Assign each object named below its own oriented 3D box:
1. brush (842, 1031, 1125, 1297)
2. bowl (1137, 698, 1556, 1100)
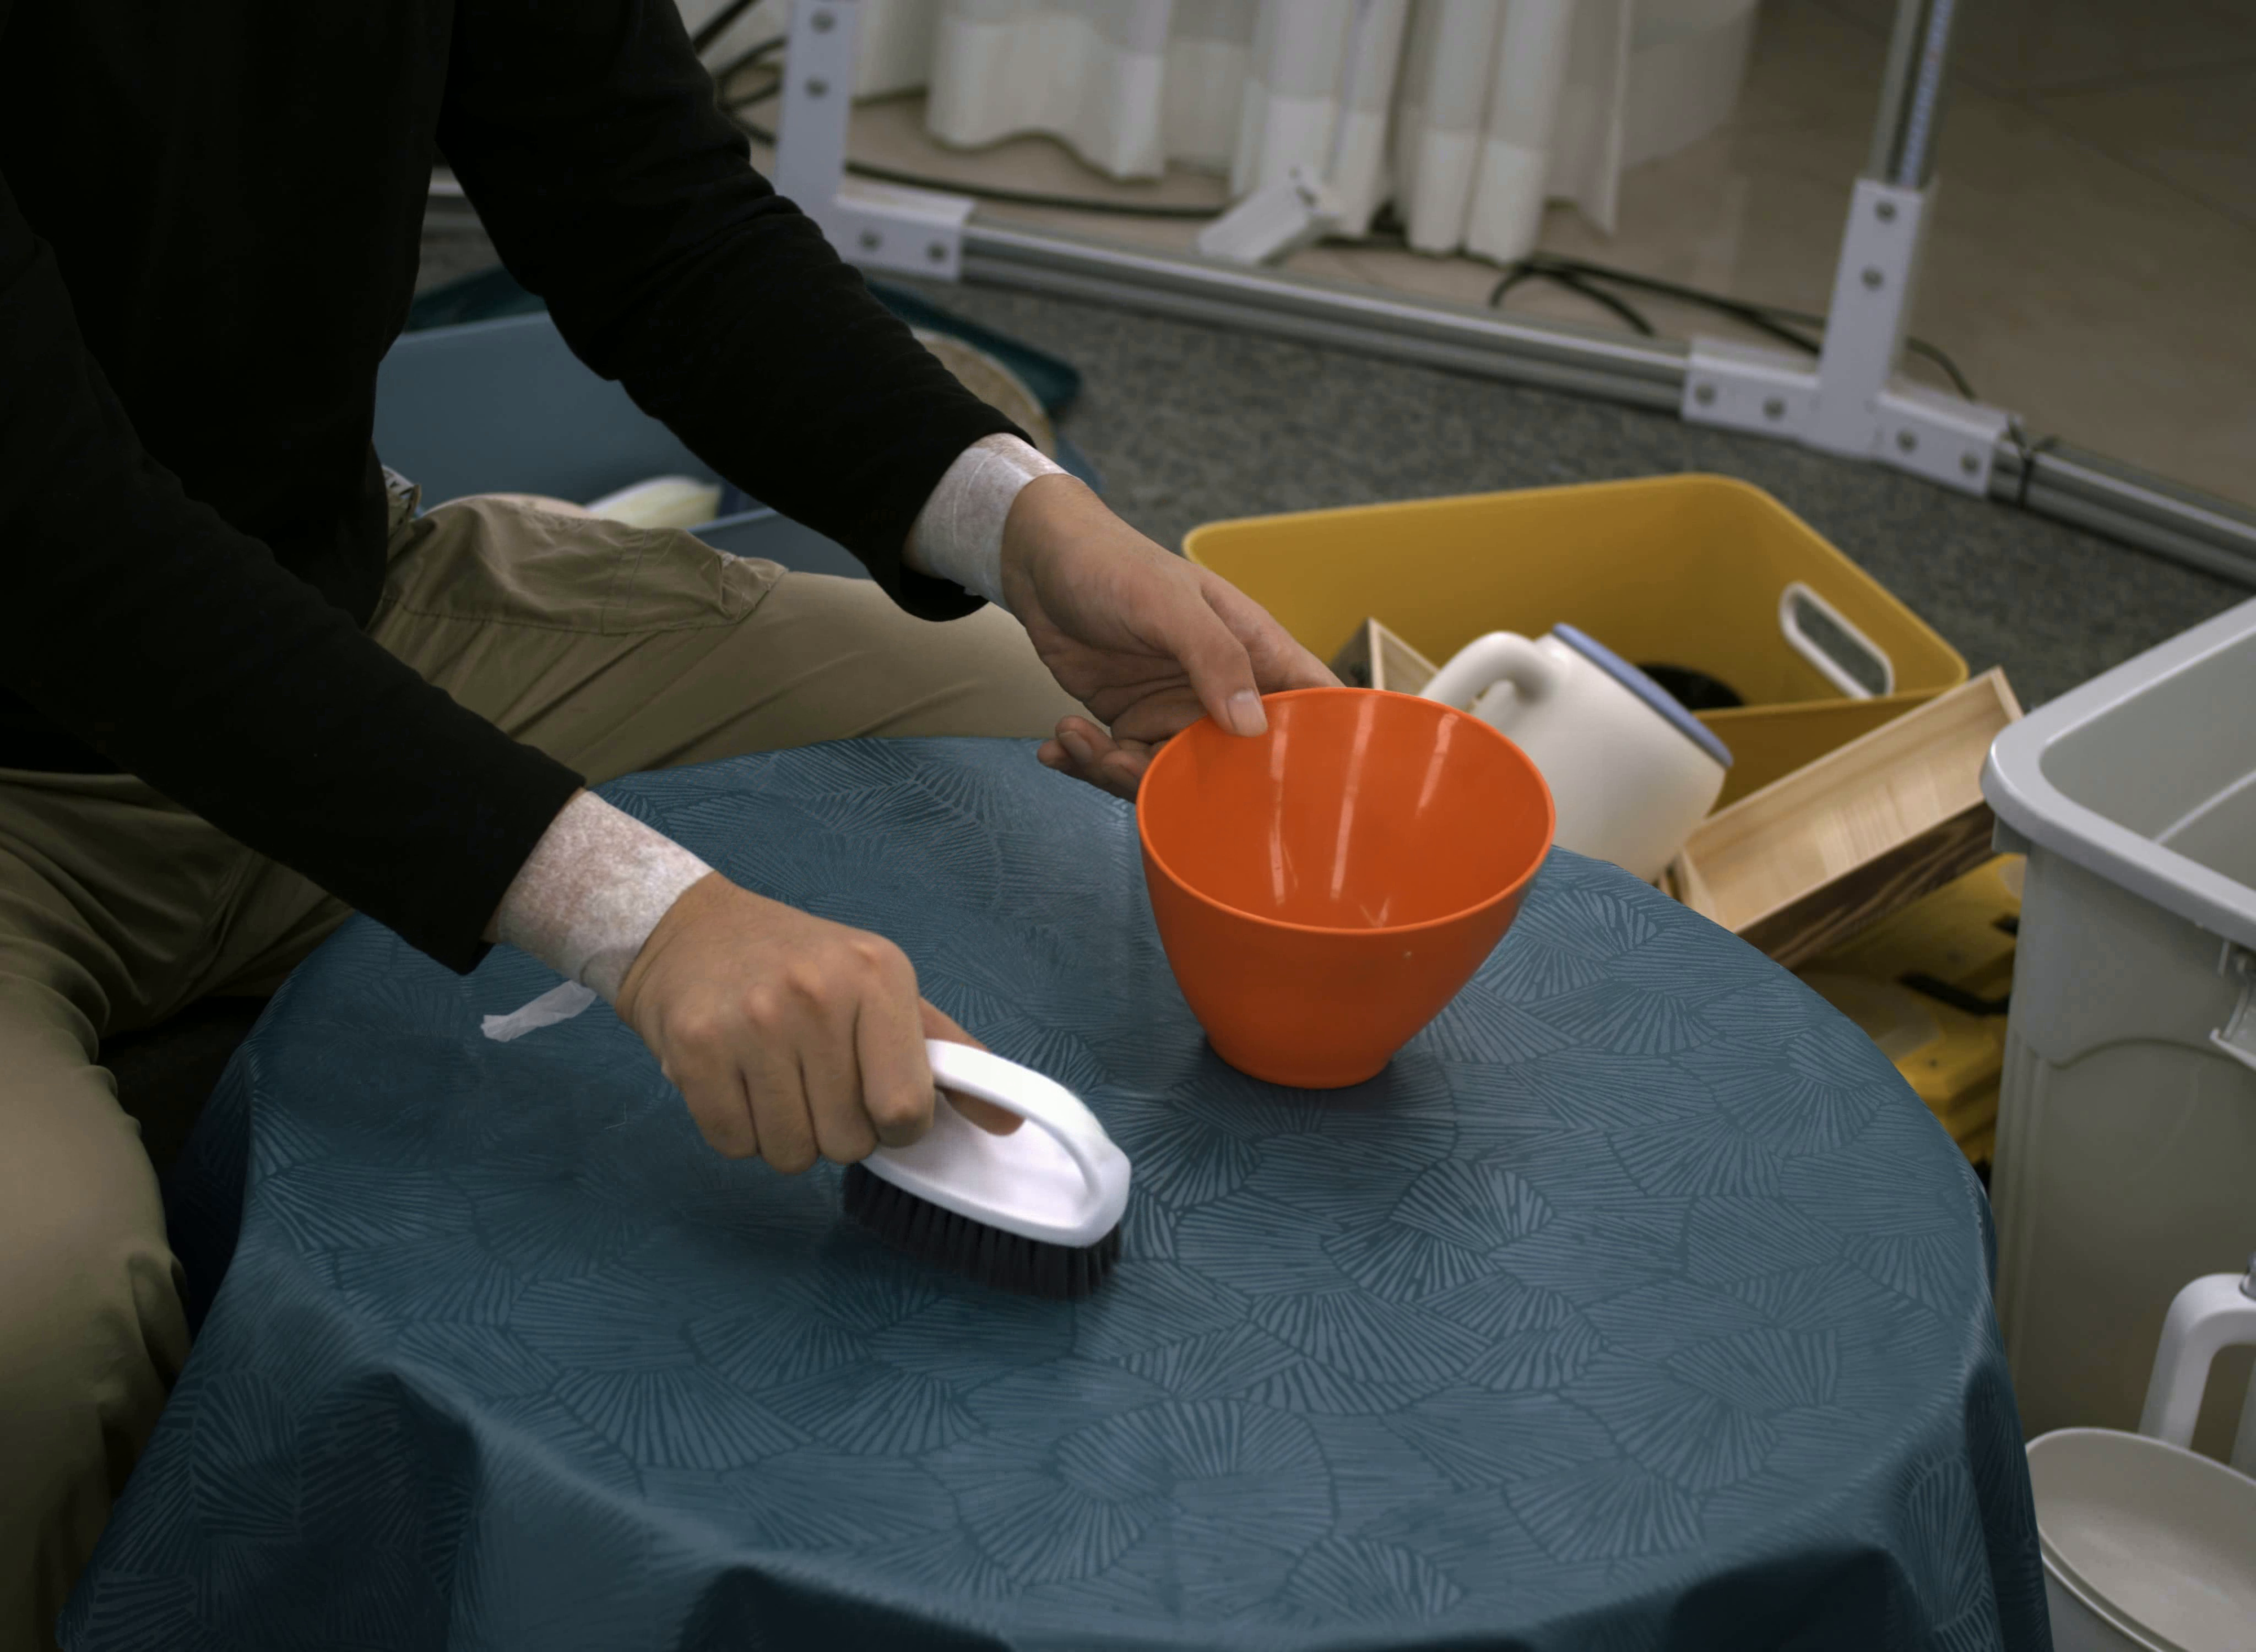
[{"bbox_3d":[-0.047,0.102,1.732,0.099,0.072,0.050,22,48,18],"label":"brush"},{"bbox_3d":[0.073,0.032,1.890,0.147,0.104,0.149,4,27,-2],"label":"bowl"}]
